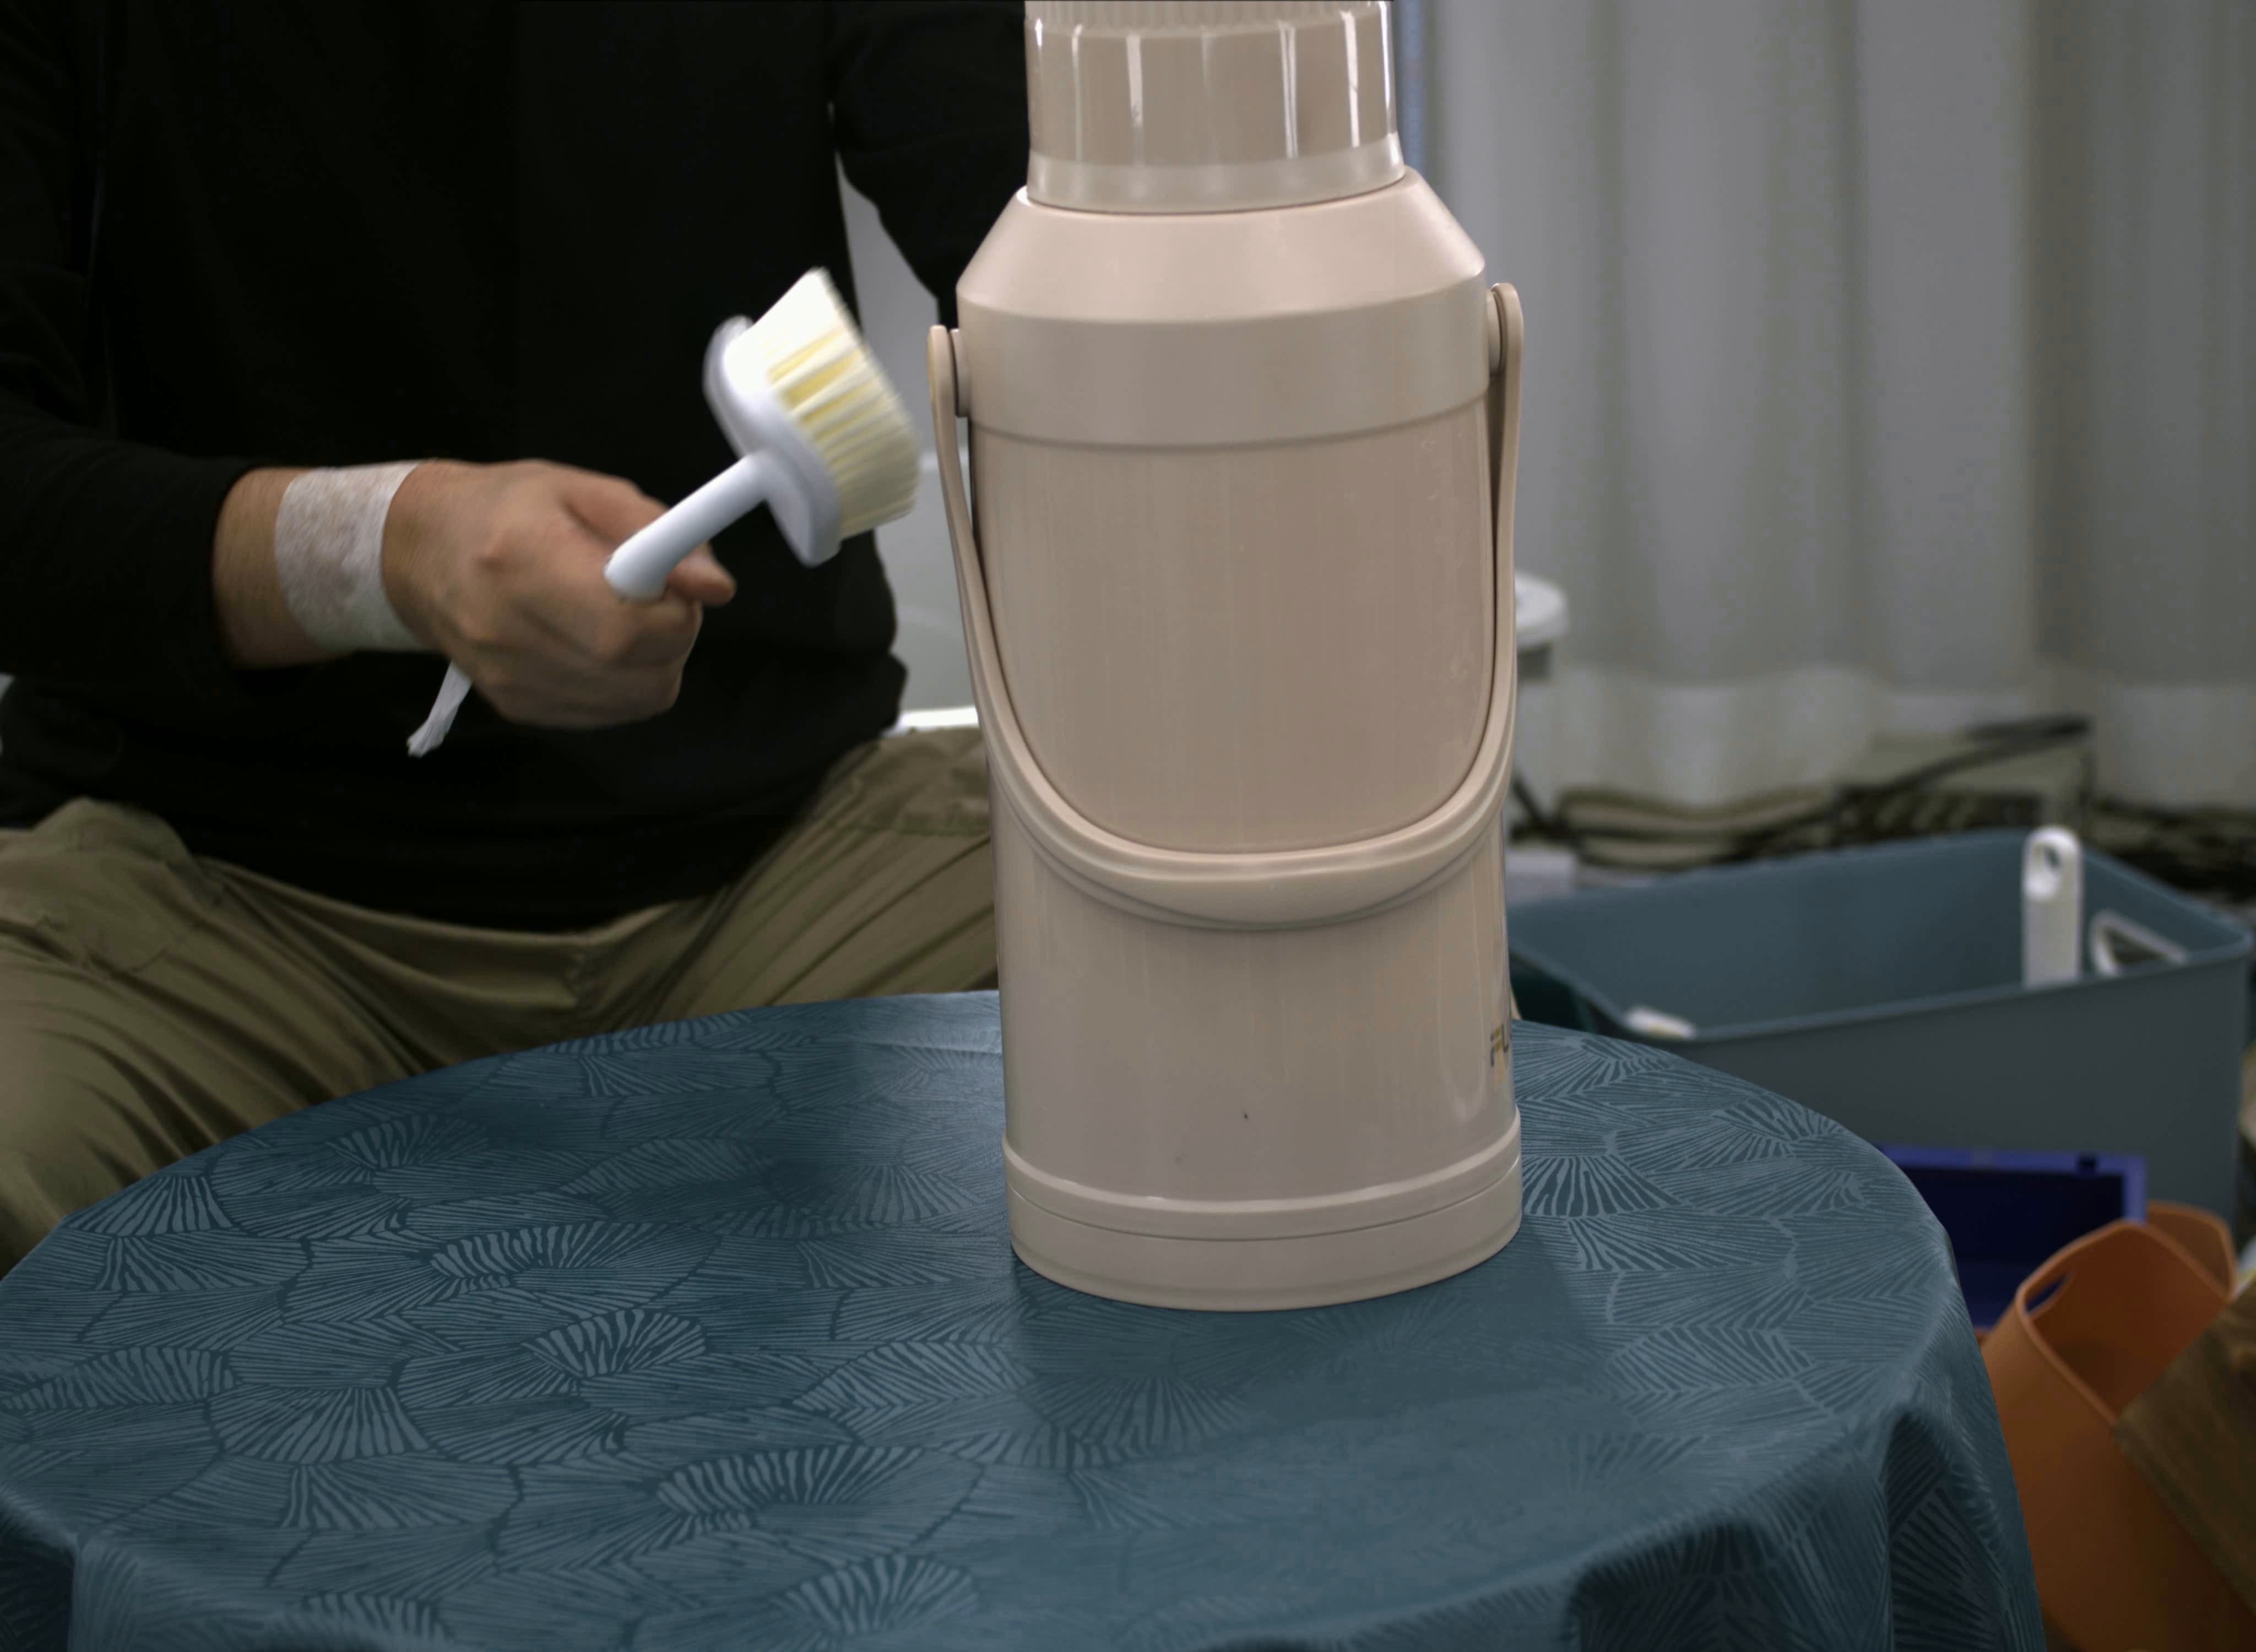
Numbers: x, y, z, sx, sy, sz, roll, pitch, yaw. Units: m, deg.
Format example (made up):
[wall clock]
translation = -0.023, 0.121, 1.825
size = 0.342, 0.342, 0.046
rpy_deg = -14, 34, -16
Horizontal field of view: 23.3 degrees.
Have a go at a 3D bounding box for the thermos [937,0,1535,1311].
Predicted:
[thermos]
translation = 0.034, -0.073, 1.647
size = 0.174, 0.405, 0.208
rpy_deg = -6, 14, -7

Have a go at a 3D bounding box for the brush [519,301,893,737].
[brush]
translation = -0.127, -0.097, 1.729
size = 0.084, 0.084, 0.324
rpy_deg = 11, -16, -12
